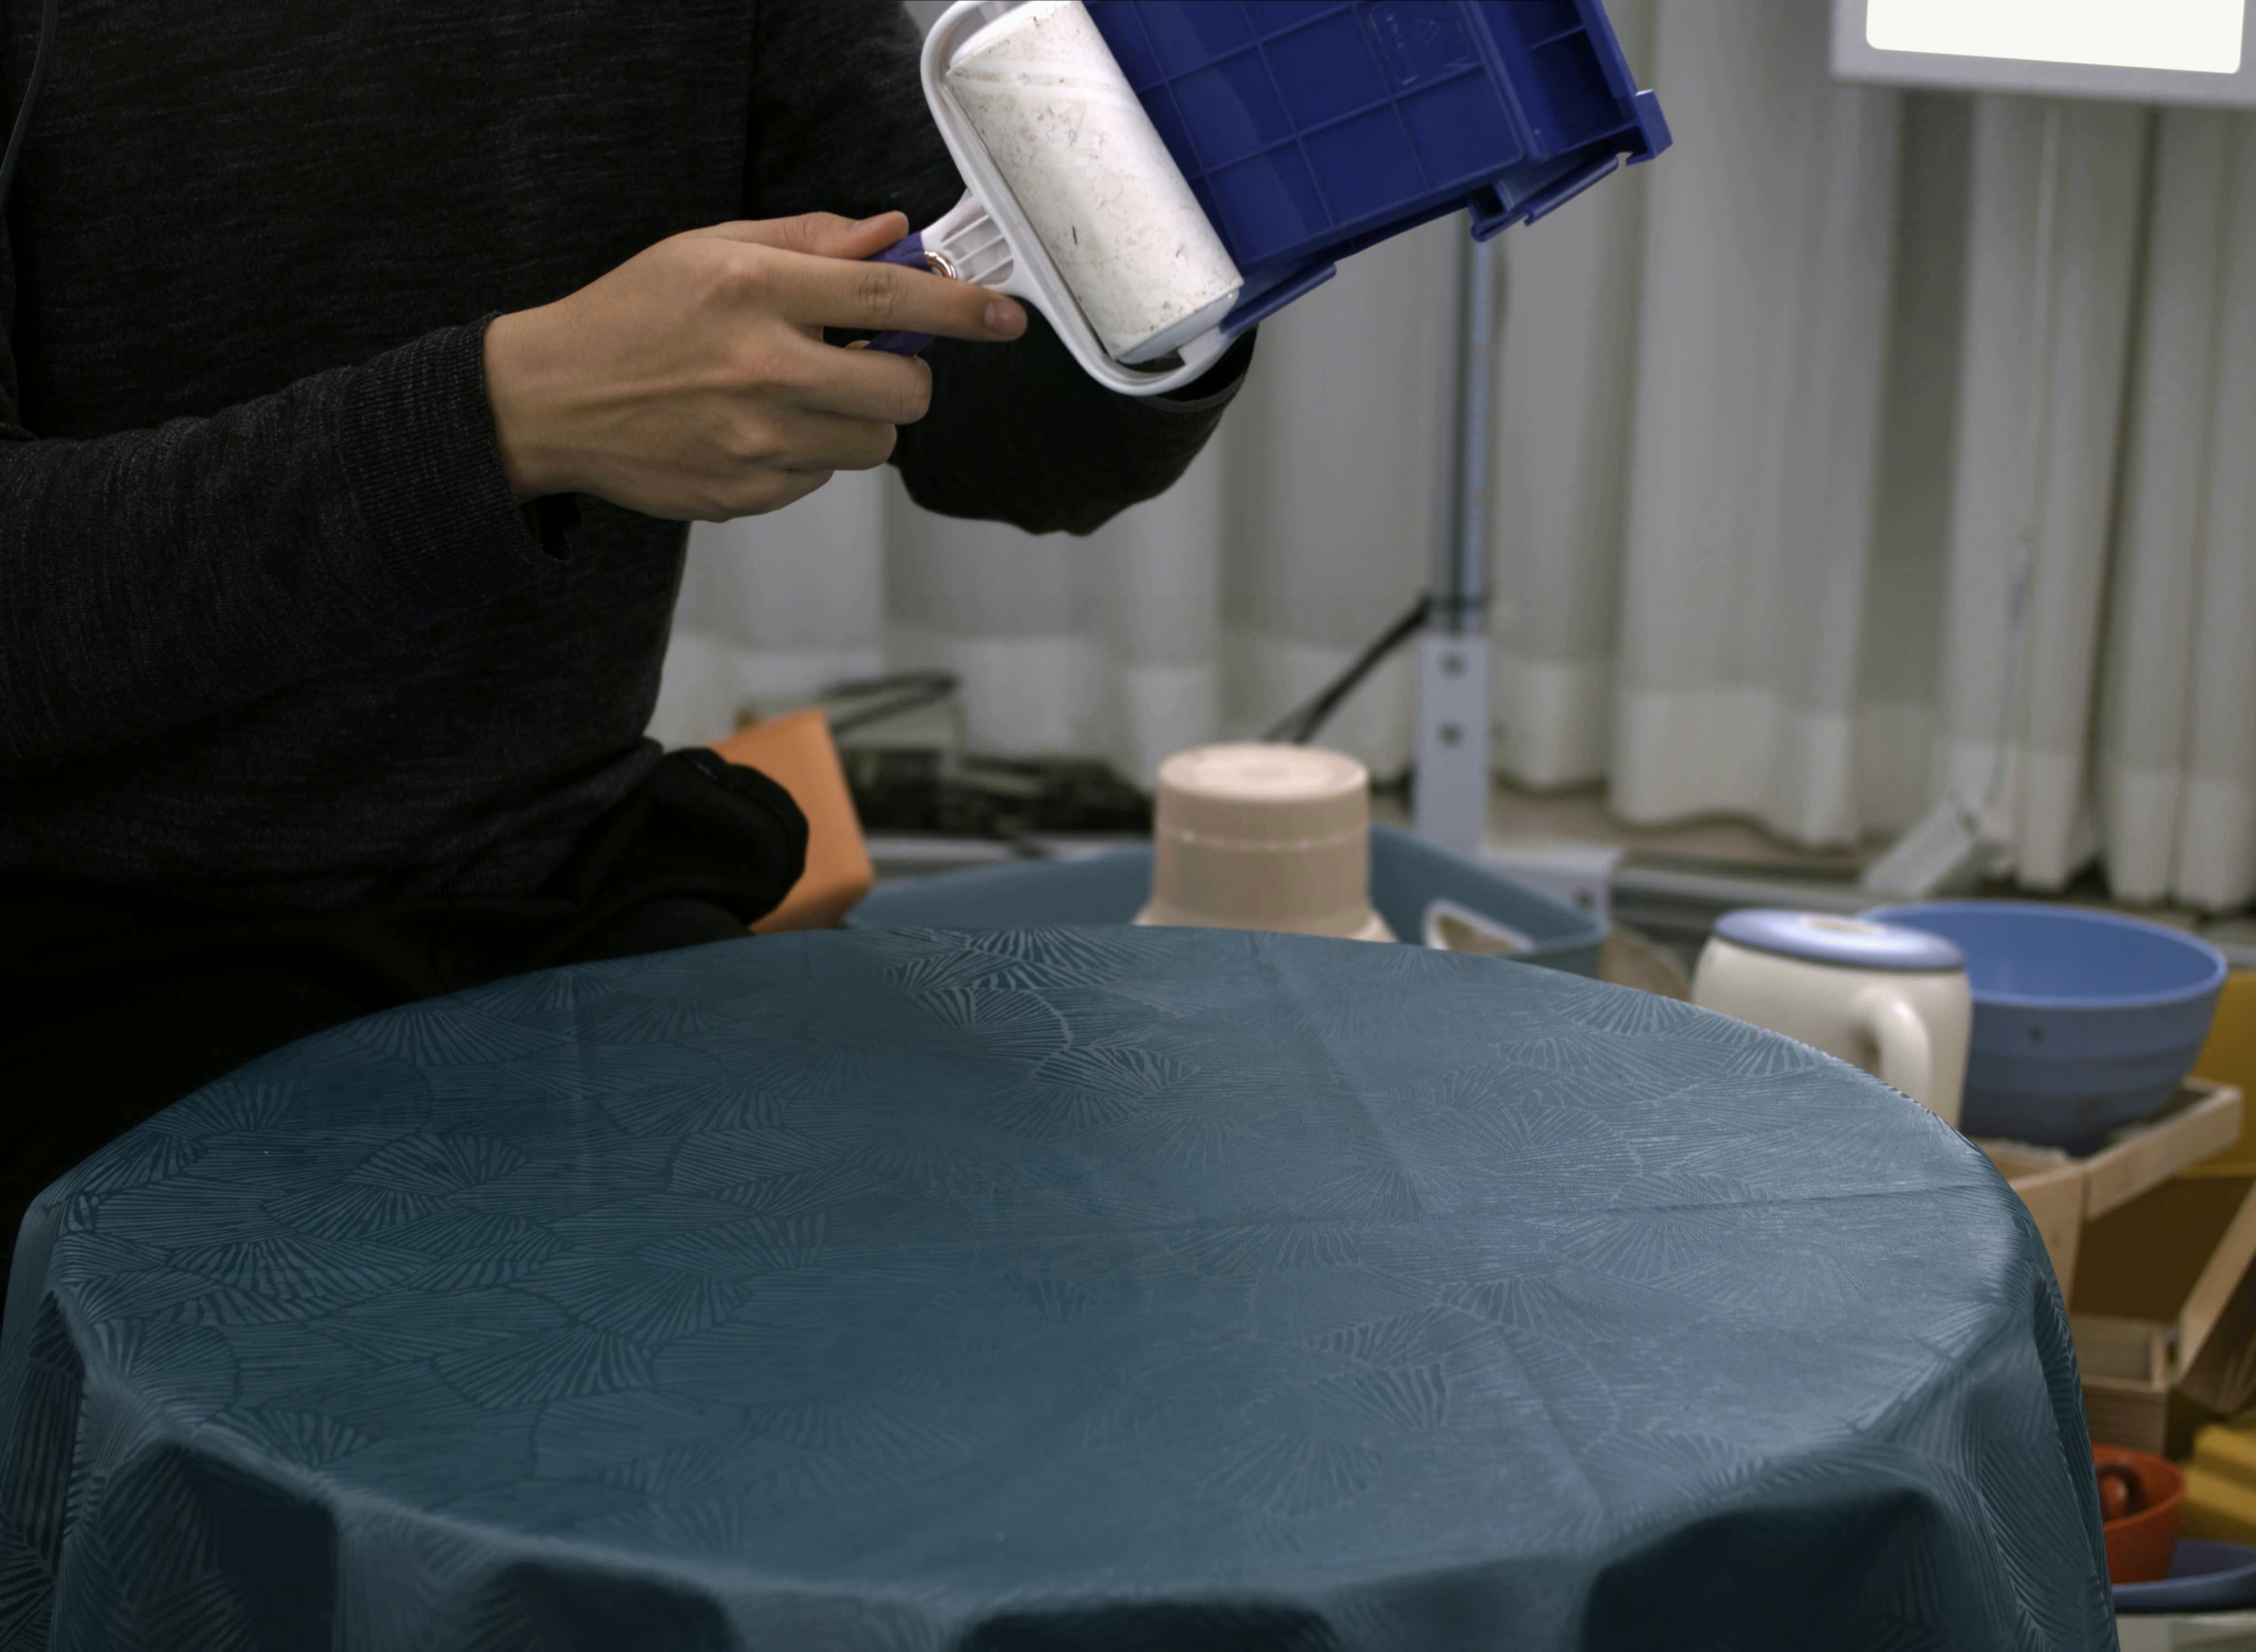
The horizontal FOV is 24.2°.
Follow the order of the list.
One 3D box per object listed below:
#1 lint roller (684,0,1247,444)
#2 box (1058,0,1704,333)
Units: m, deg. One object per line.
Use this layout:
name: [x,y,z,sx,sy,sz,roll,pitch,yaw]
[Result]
lint roller: [-0.065,-0.165,1.577,0.180,0.133,0.050,-28,7,16]
box: [0.077,-0.236,1.572,0.178,0.125,0.082,-20,9,30]
